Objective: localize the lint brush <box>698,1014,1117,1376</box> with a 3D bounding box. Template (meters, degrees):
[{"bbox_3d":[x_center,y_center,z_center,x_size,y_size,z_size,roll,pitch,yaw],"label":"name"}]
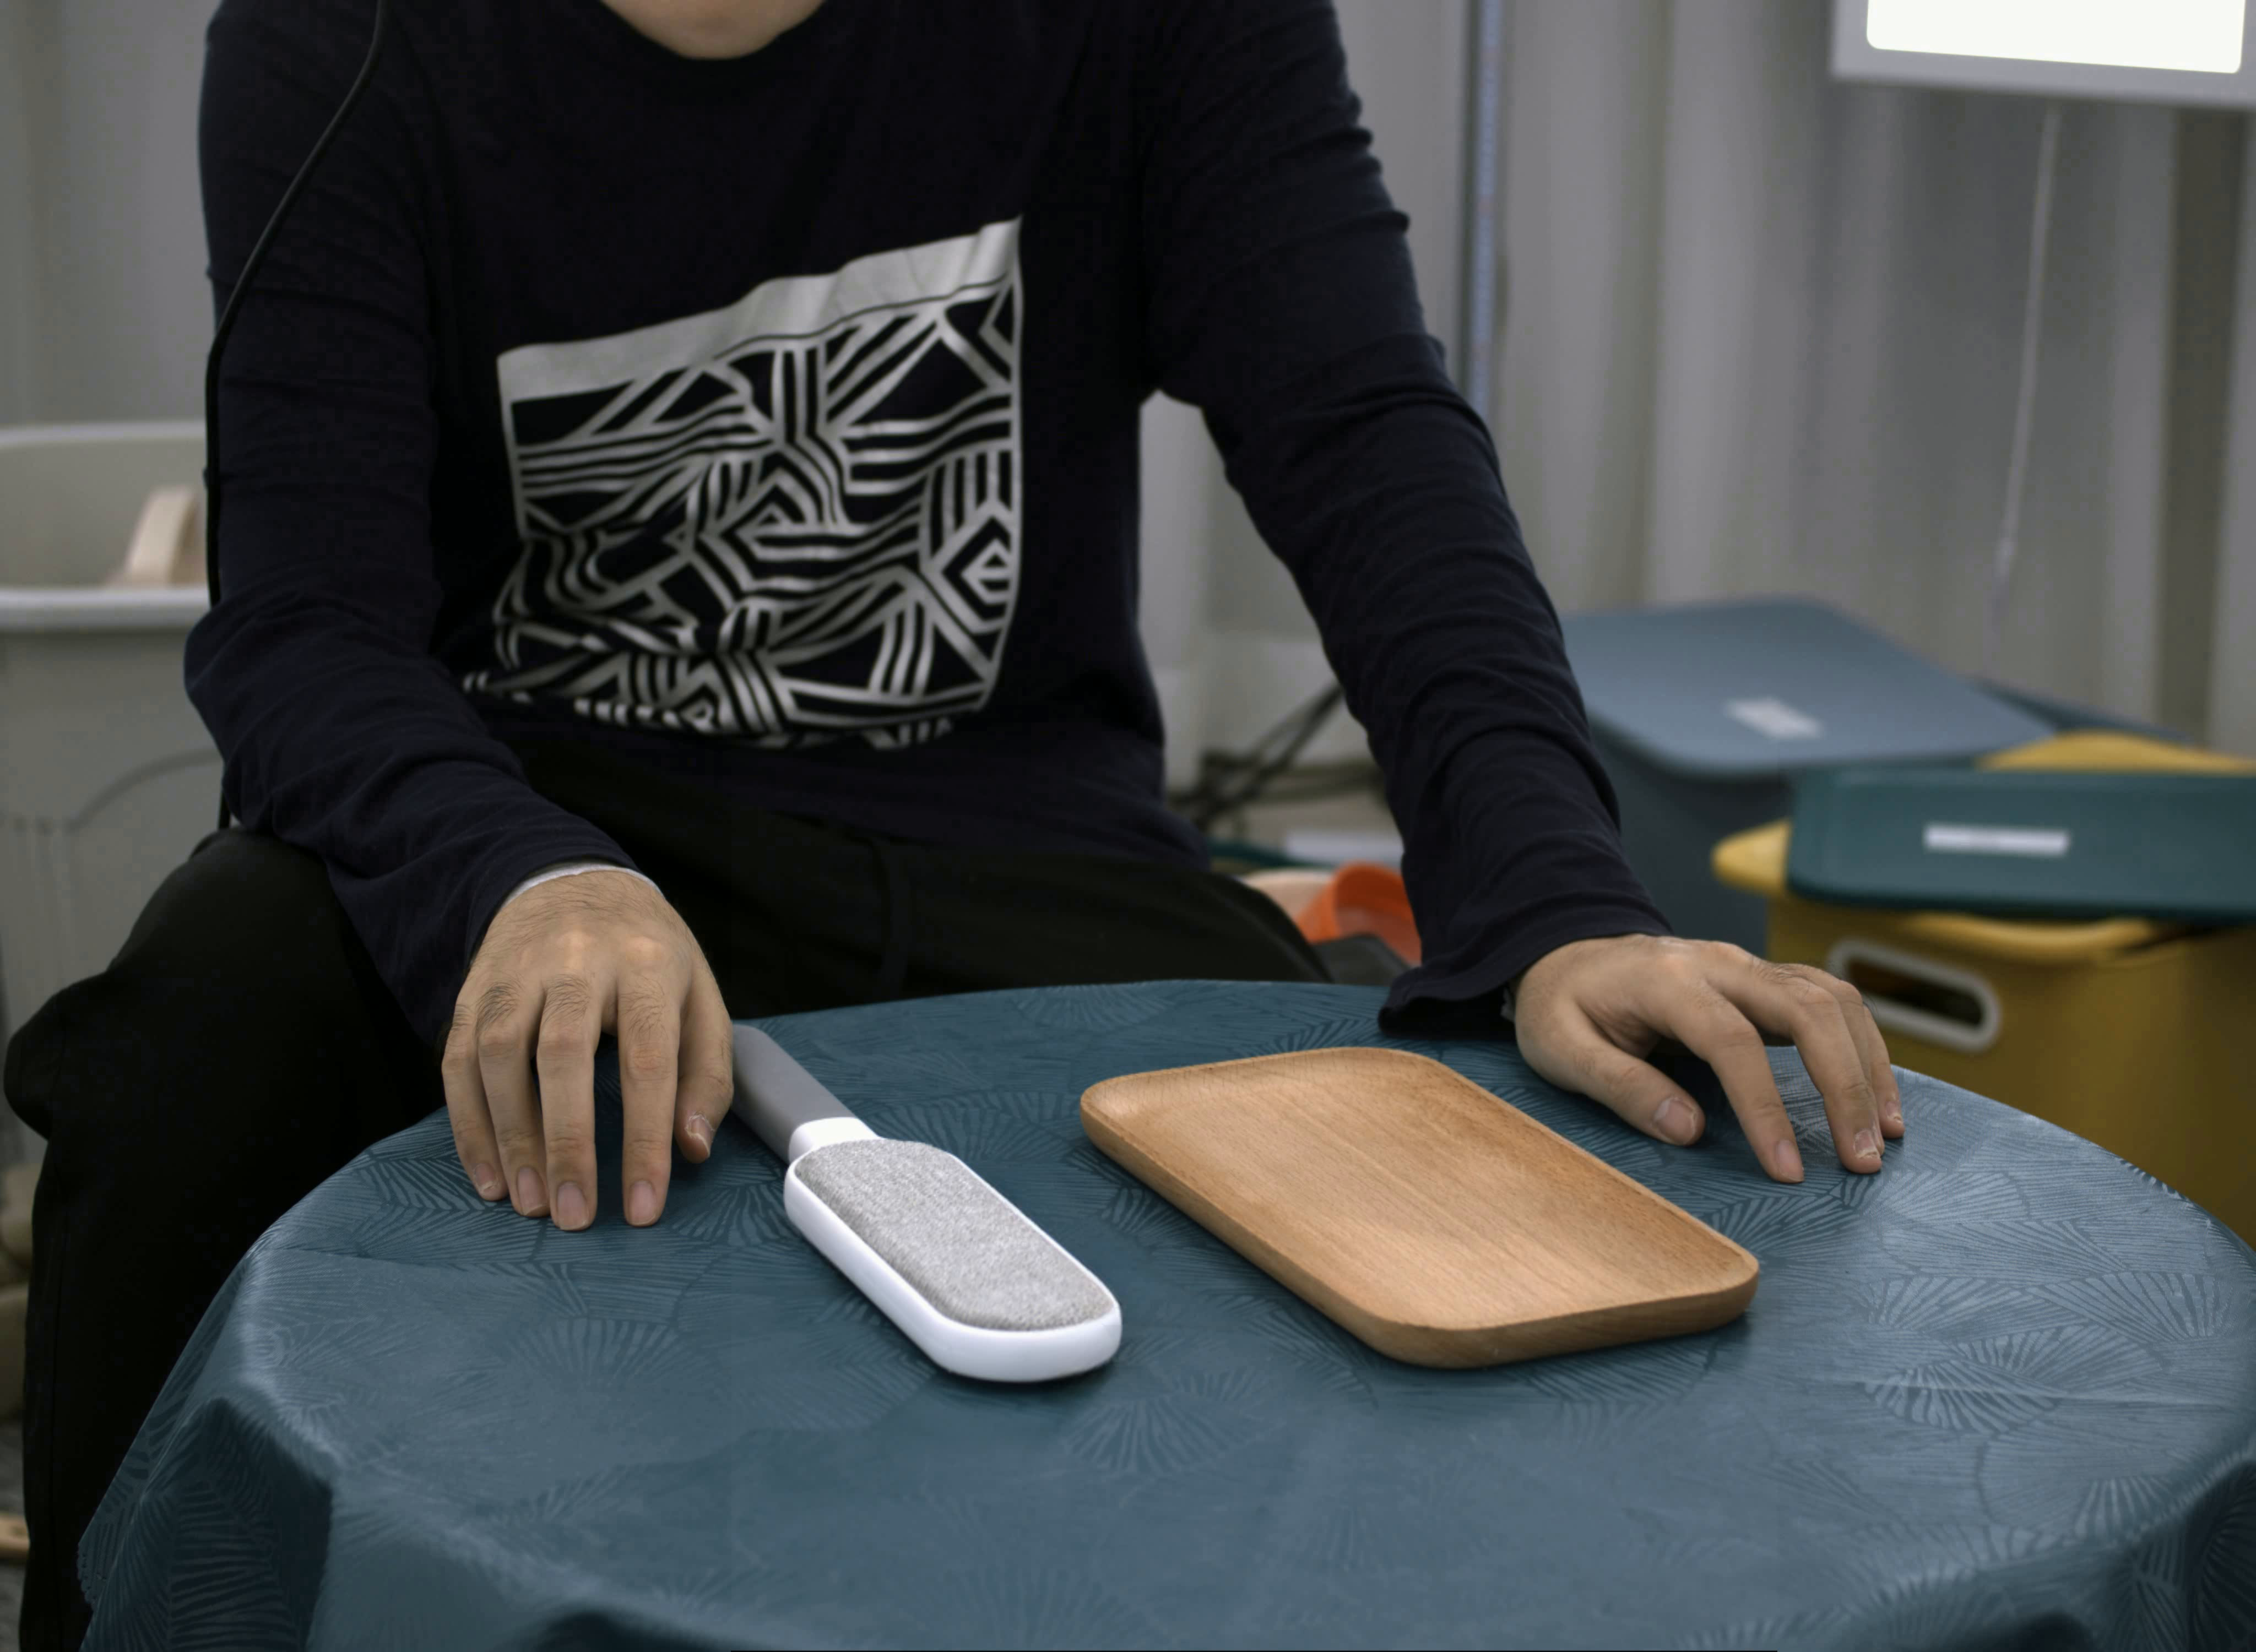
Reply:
[{"bbox_3d":[-0.075,0.107,1.591,0.060,0.021,0.305,-10,18,-19],"label":"lint brush"}]

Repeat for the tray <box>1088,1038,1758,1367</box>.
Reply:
[{"bbox_3d":[0.085,0.111,1.599,0.131,0.023,0.248,-4,15,-22],"label":"tray"}]
